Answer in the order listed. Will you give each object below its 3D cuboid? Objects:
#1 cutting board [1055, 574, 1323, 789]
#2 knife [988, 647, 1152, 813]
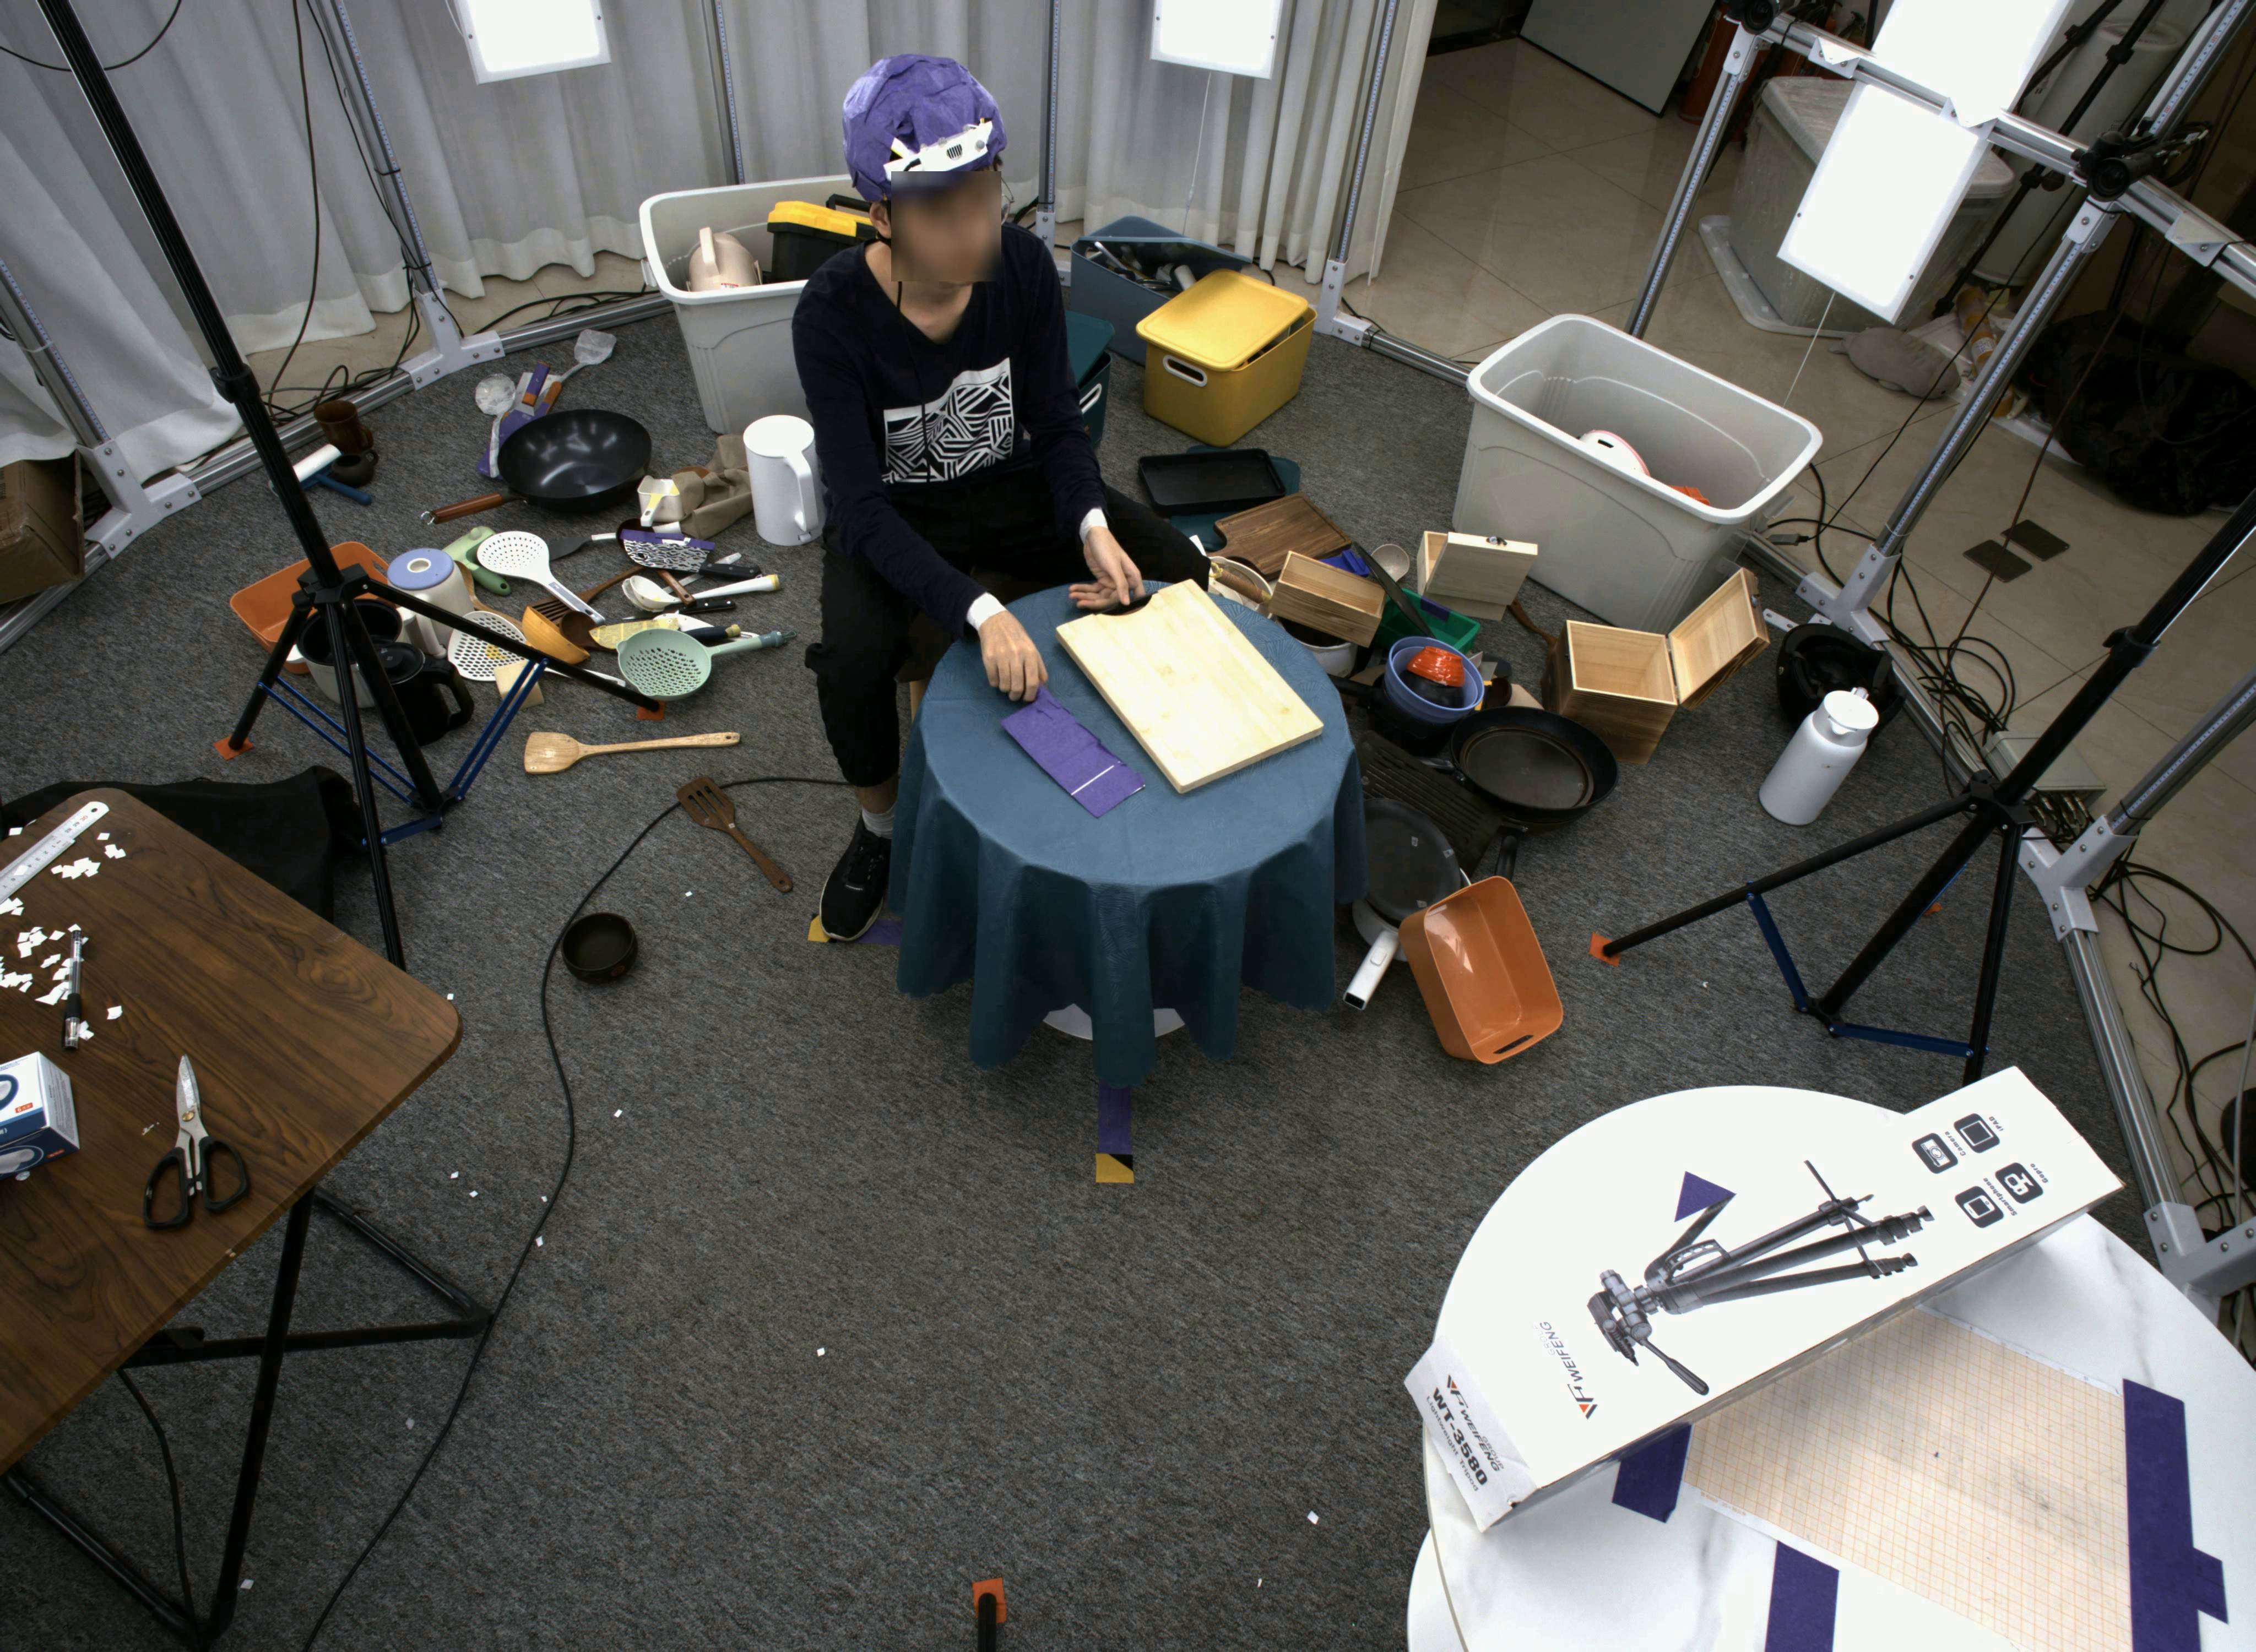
[{"bbox_3d":[0.082,-0.214,1.840,0.251,0.023,0.356,-23,56,-22],"label":"cutting board"},{"bbox_3d":[-0.108,-0.135,1.757,0.104,0.031,0.320,-32,59,-27],"label":"knife"}]
